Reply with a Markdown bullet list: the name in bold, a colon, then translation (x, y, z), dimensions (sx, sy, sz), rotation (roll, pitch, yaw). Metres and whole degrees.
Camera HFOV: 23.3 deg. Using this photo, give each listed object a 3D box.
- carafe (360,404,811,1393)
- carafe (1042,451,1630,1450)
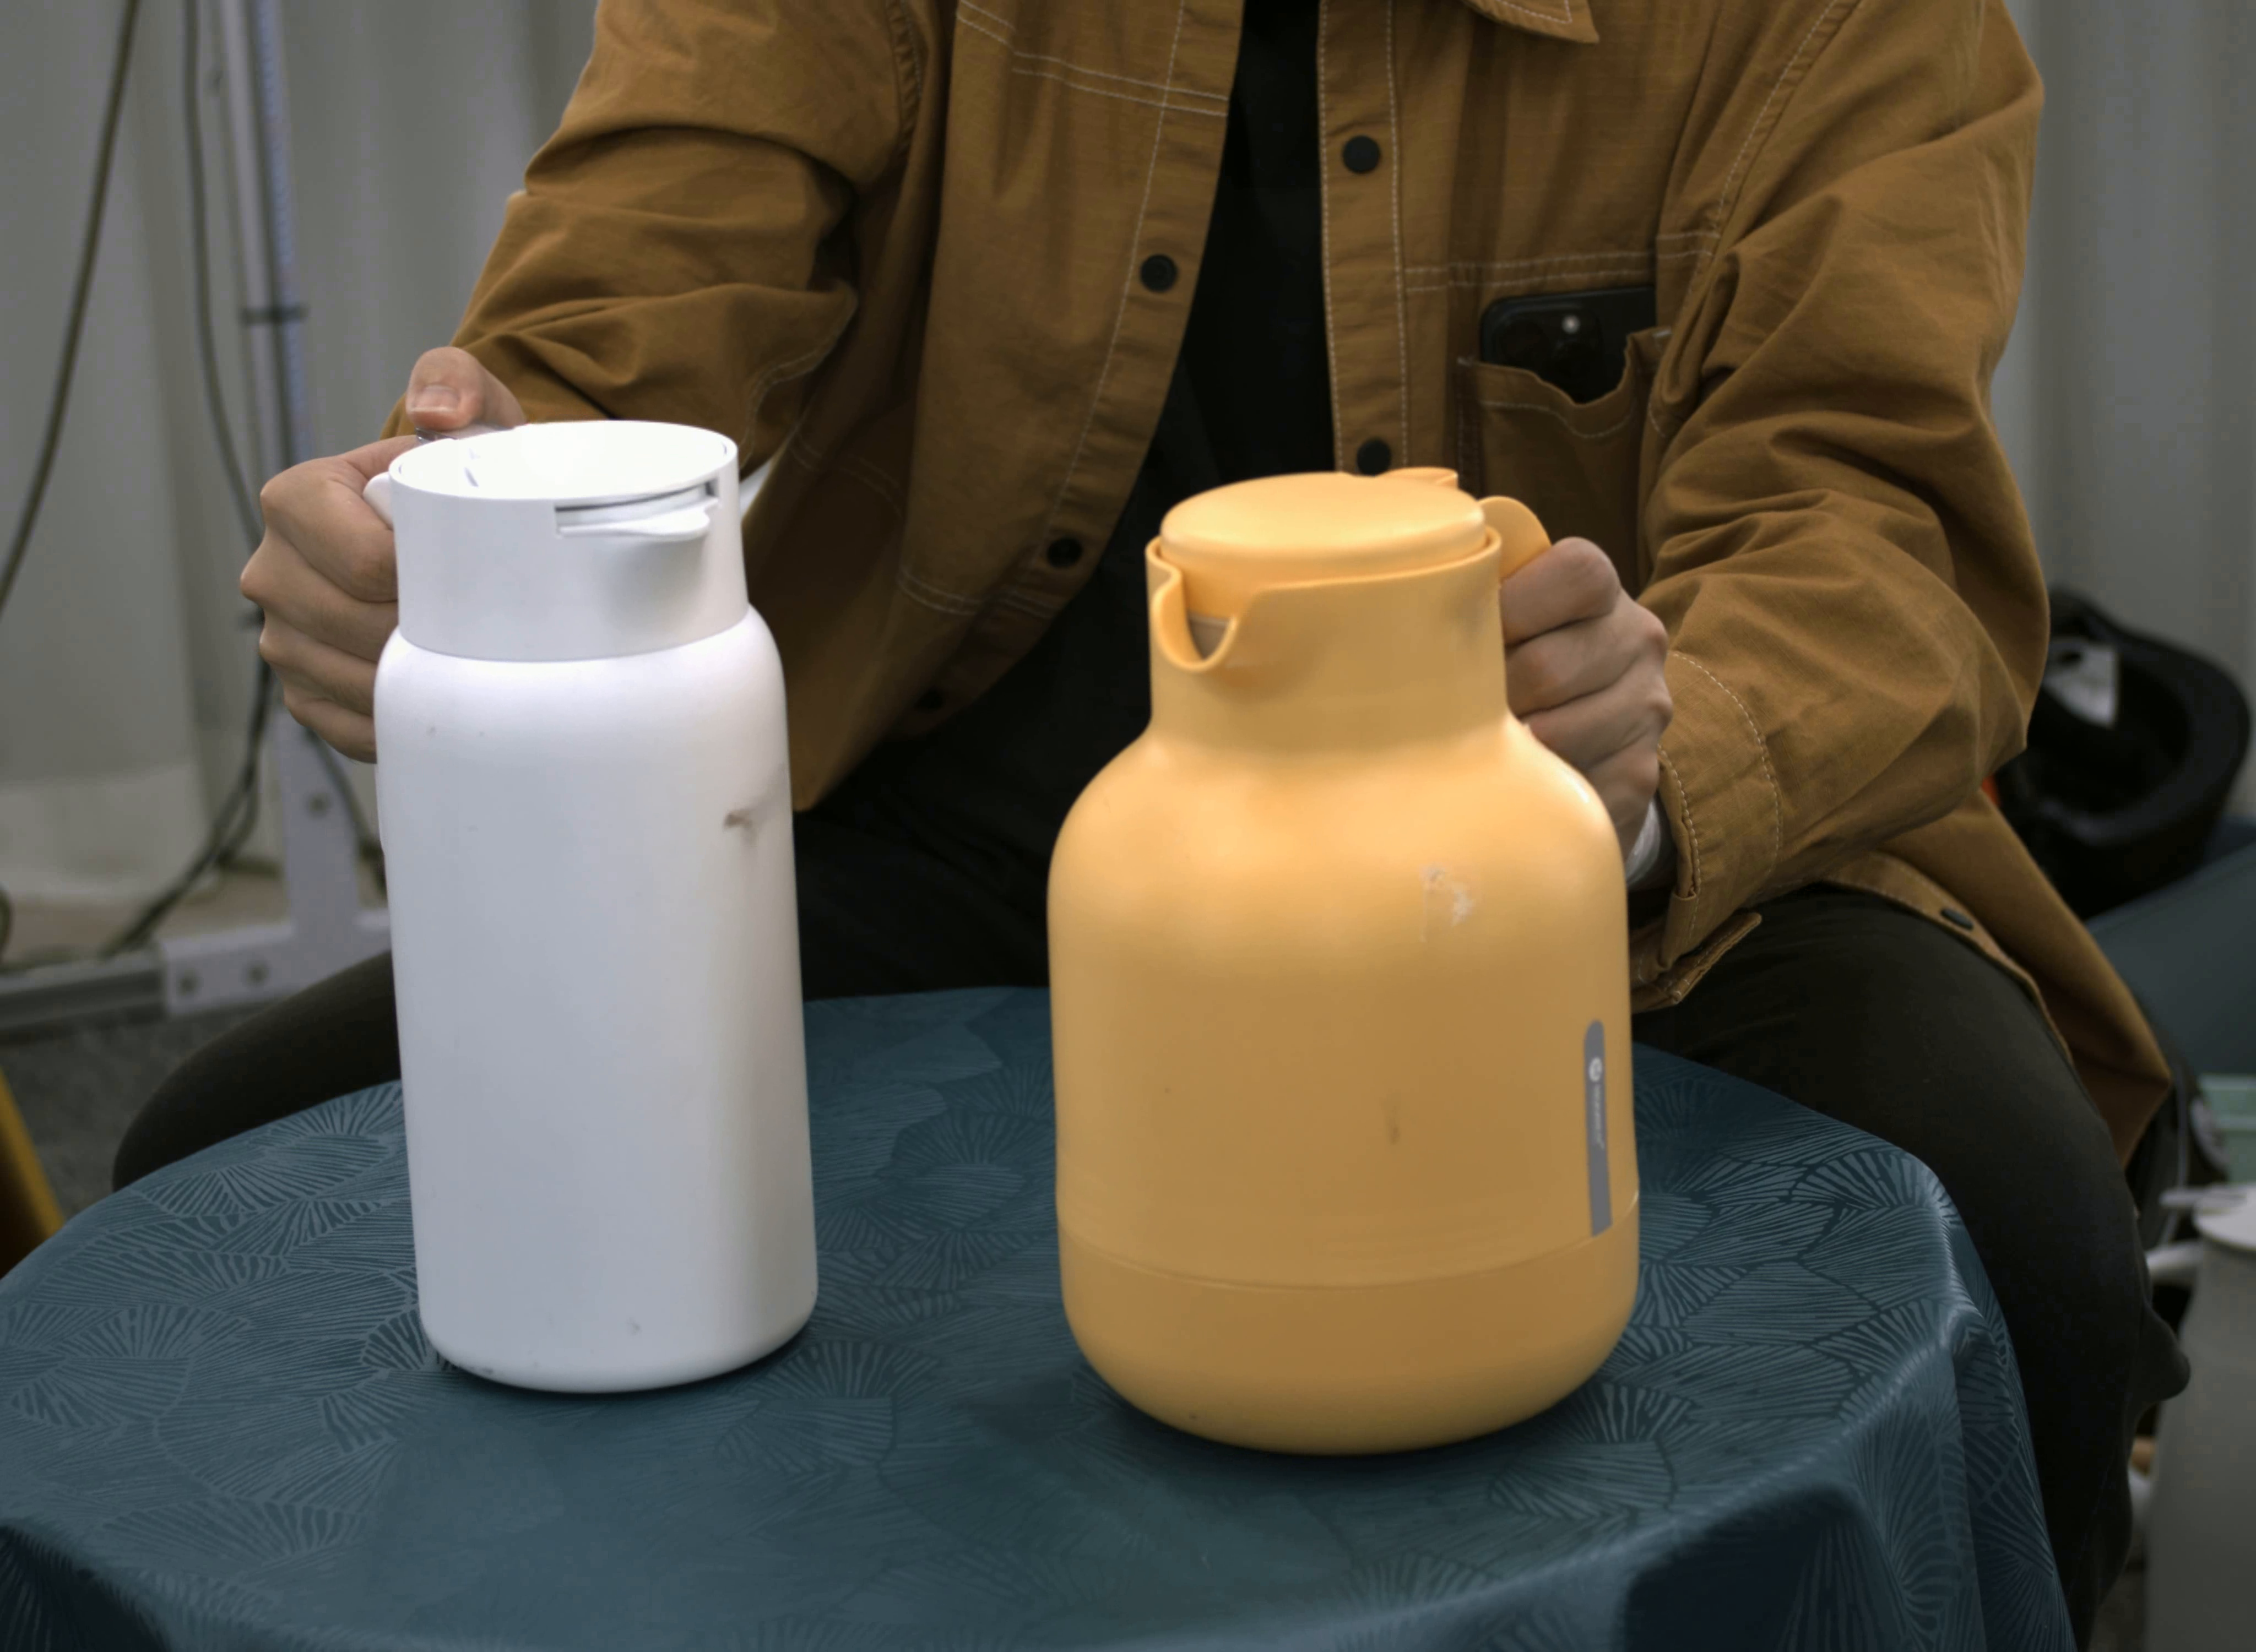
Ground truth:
- **carafe**: translation (-0.166, 0.017, 1.588), dimensions (0.123, 0.267, 0.174), rotation (-15, 20, -34)
- **carafe**: translation (0.068, 0.026, 1.525), dimensions (0.164, 0.259, 0.202), rotation (10, 20, 33)
